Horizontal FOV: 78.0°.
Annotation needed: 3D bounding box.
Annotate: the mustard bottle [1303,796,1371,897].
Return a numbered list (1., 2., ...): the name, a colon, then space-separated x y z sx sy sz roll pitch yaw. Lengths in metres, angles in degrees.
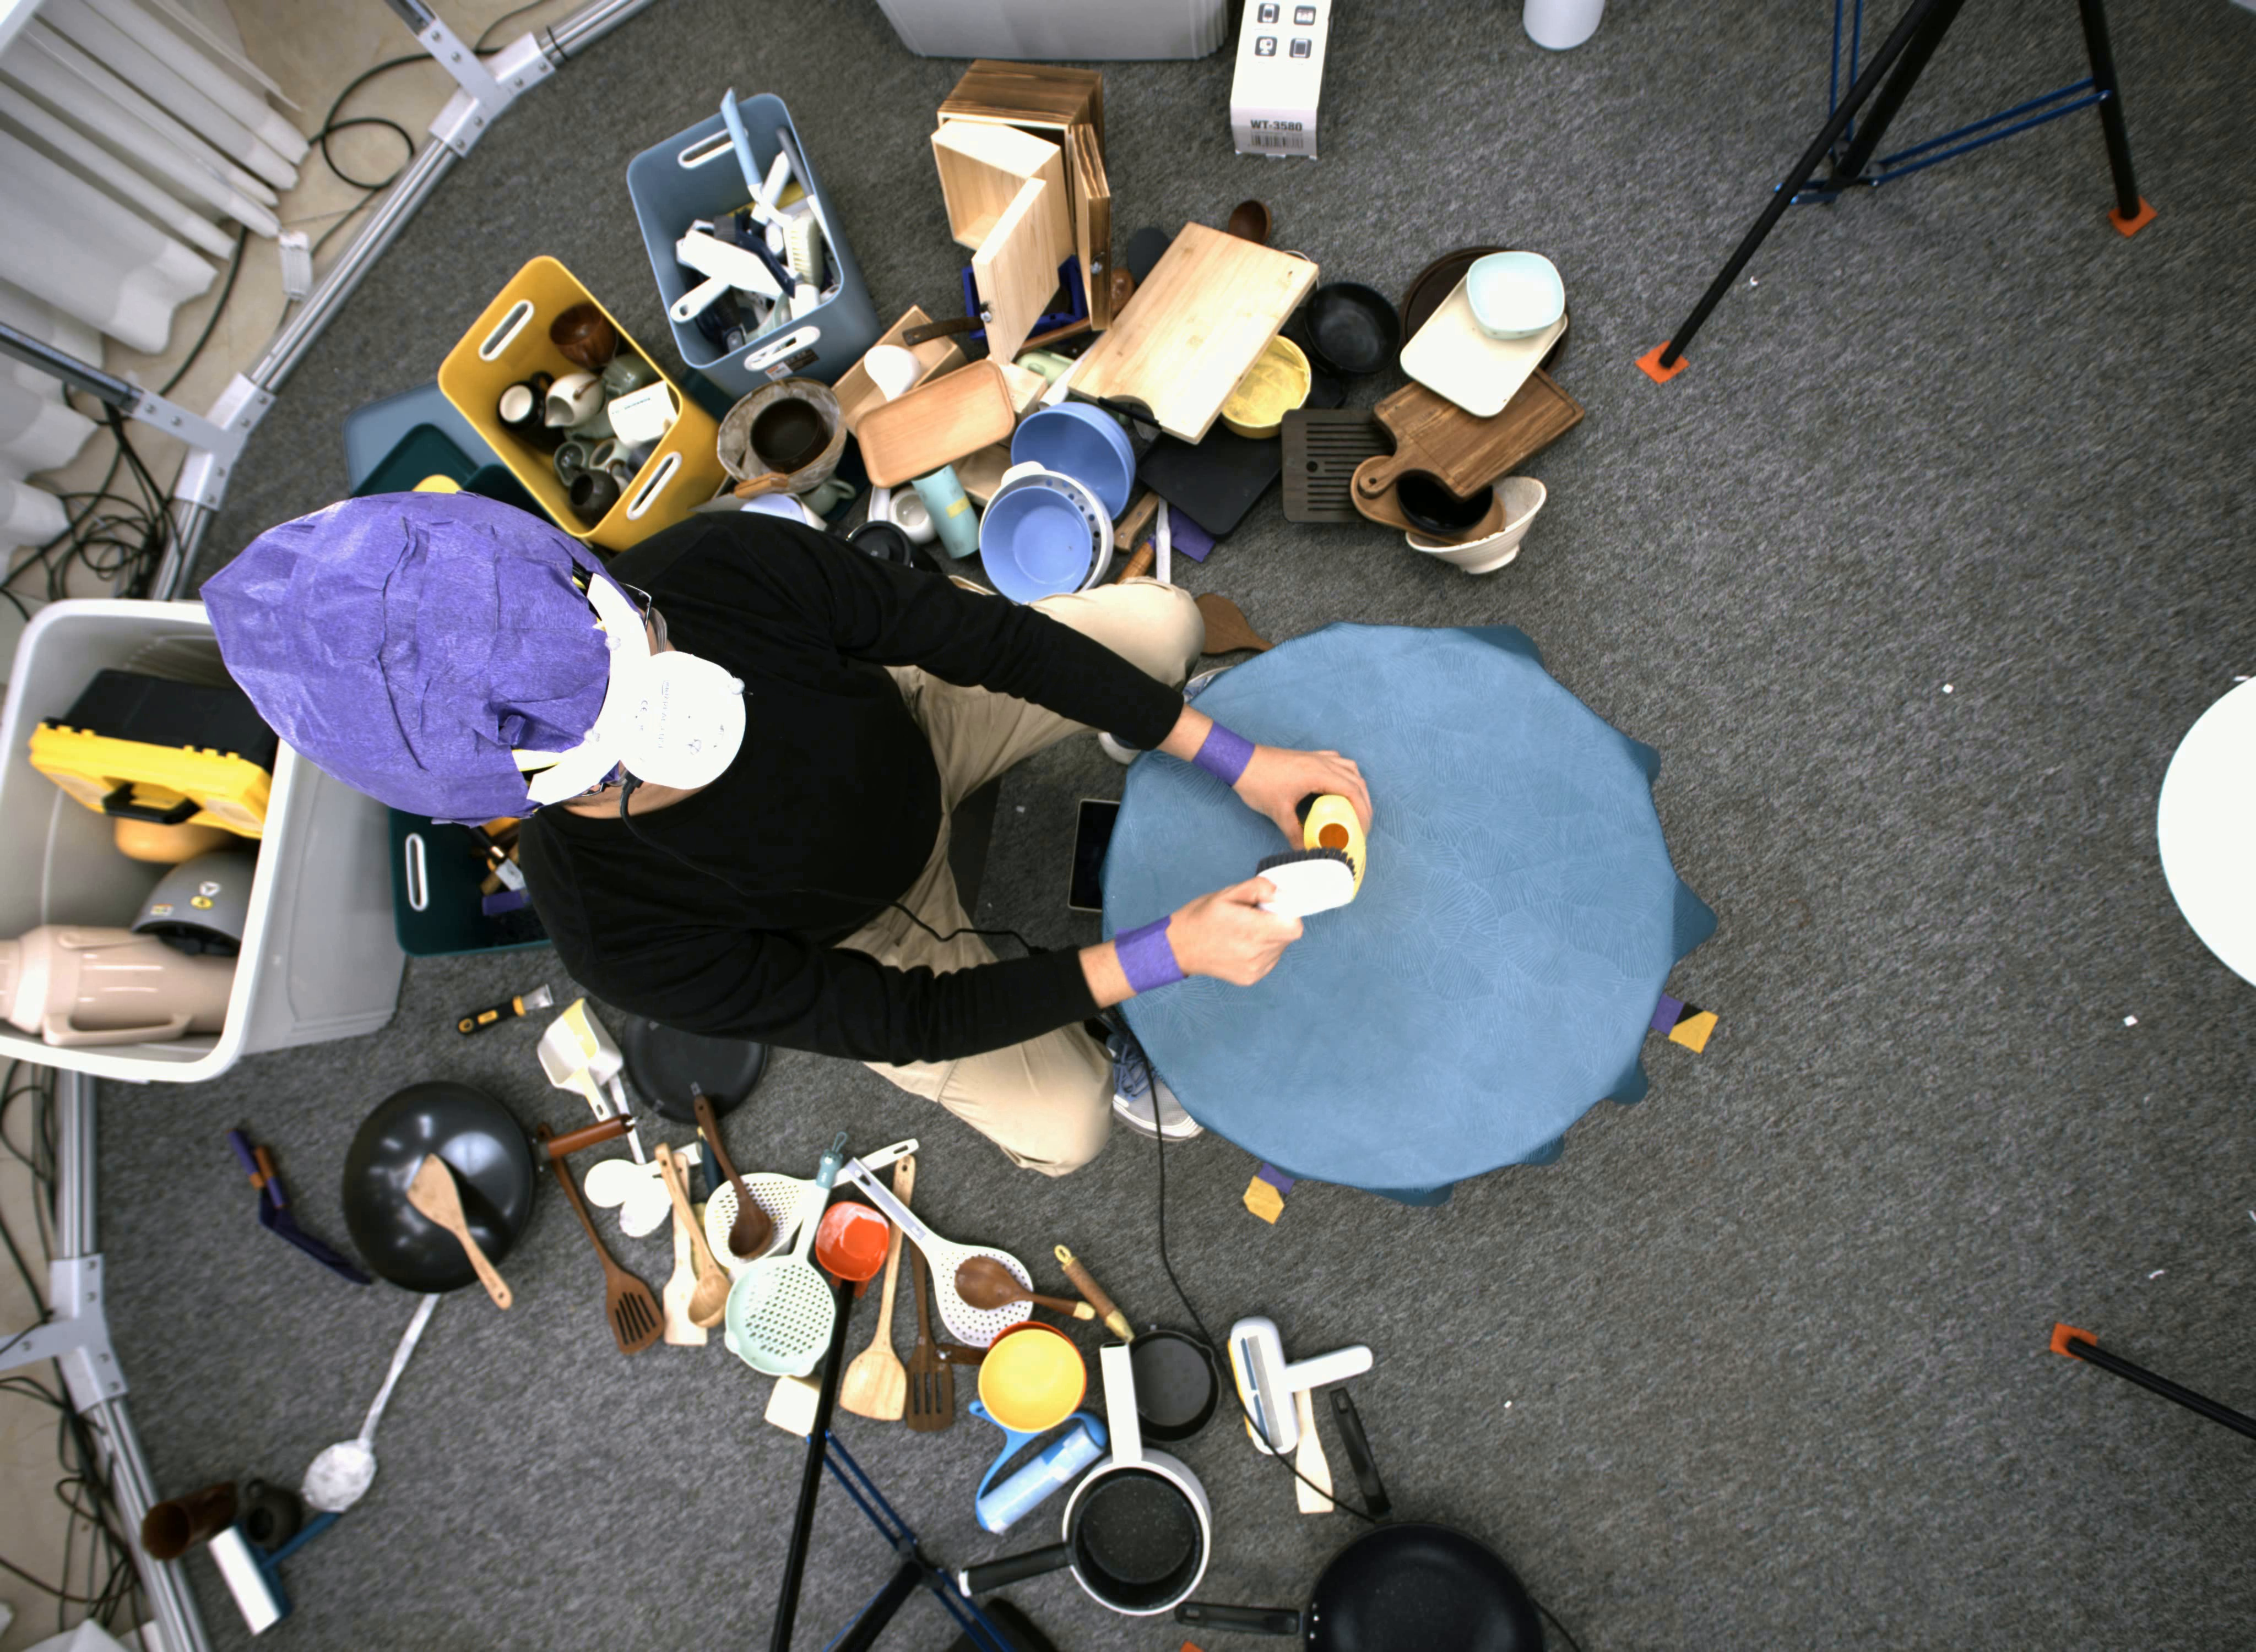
1. mustard bottle: 0.211 0.020 1.388 0.059 0.172 0.098 -9 85 12

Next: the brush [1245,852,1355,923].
1. brush: 0.155 0.063 1.271 0.100 0.071 0.051 -8 114 20
